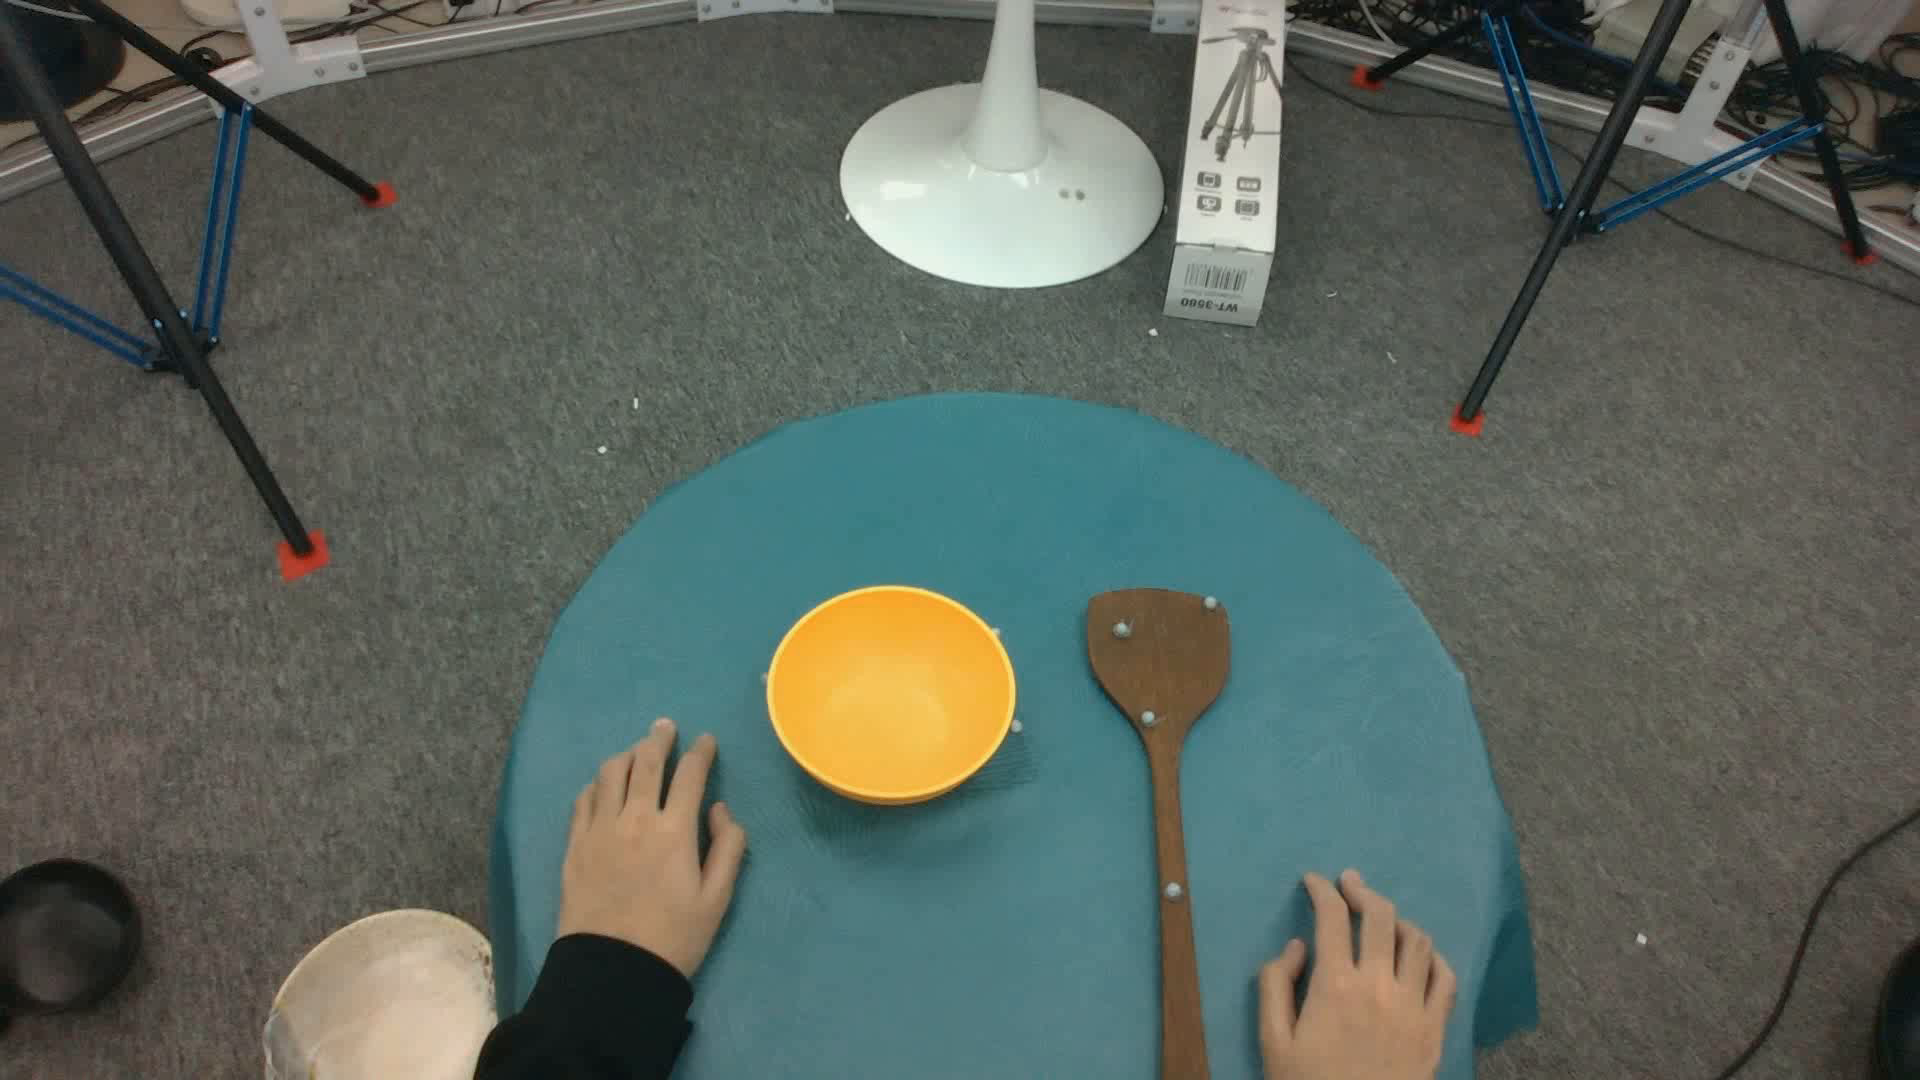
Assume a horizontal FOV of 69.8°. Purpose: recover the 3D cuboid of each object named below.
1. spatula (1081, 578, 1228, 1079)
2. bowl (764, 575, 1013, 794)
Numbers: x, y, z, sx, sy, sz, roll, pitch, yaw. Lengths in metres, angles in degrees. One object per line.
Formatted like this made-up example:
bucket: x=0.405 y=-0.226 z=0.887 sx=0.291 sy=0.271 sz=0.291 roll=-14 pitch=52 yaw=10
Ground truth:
spatula: x=0.120 y=0.179 z=0.794 sx=0.096 sy=0.016 sz=0.388 roll=4 pitch=52 yaw=-1
bowl: x=-0.041 y=0.095 z=0.821 sx=0.145 sy=0.060 sz=0.146 roll=0 pitch=53 yaw=0
